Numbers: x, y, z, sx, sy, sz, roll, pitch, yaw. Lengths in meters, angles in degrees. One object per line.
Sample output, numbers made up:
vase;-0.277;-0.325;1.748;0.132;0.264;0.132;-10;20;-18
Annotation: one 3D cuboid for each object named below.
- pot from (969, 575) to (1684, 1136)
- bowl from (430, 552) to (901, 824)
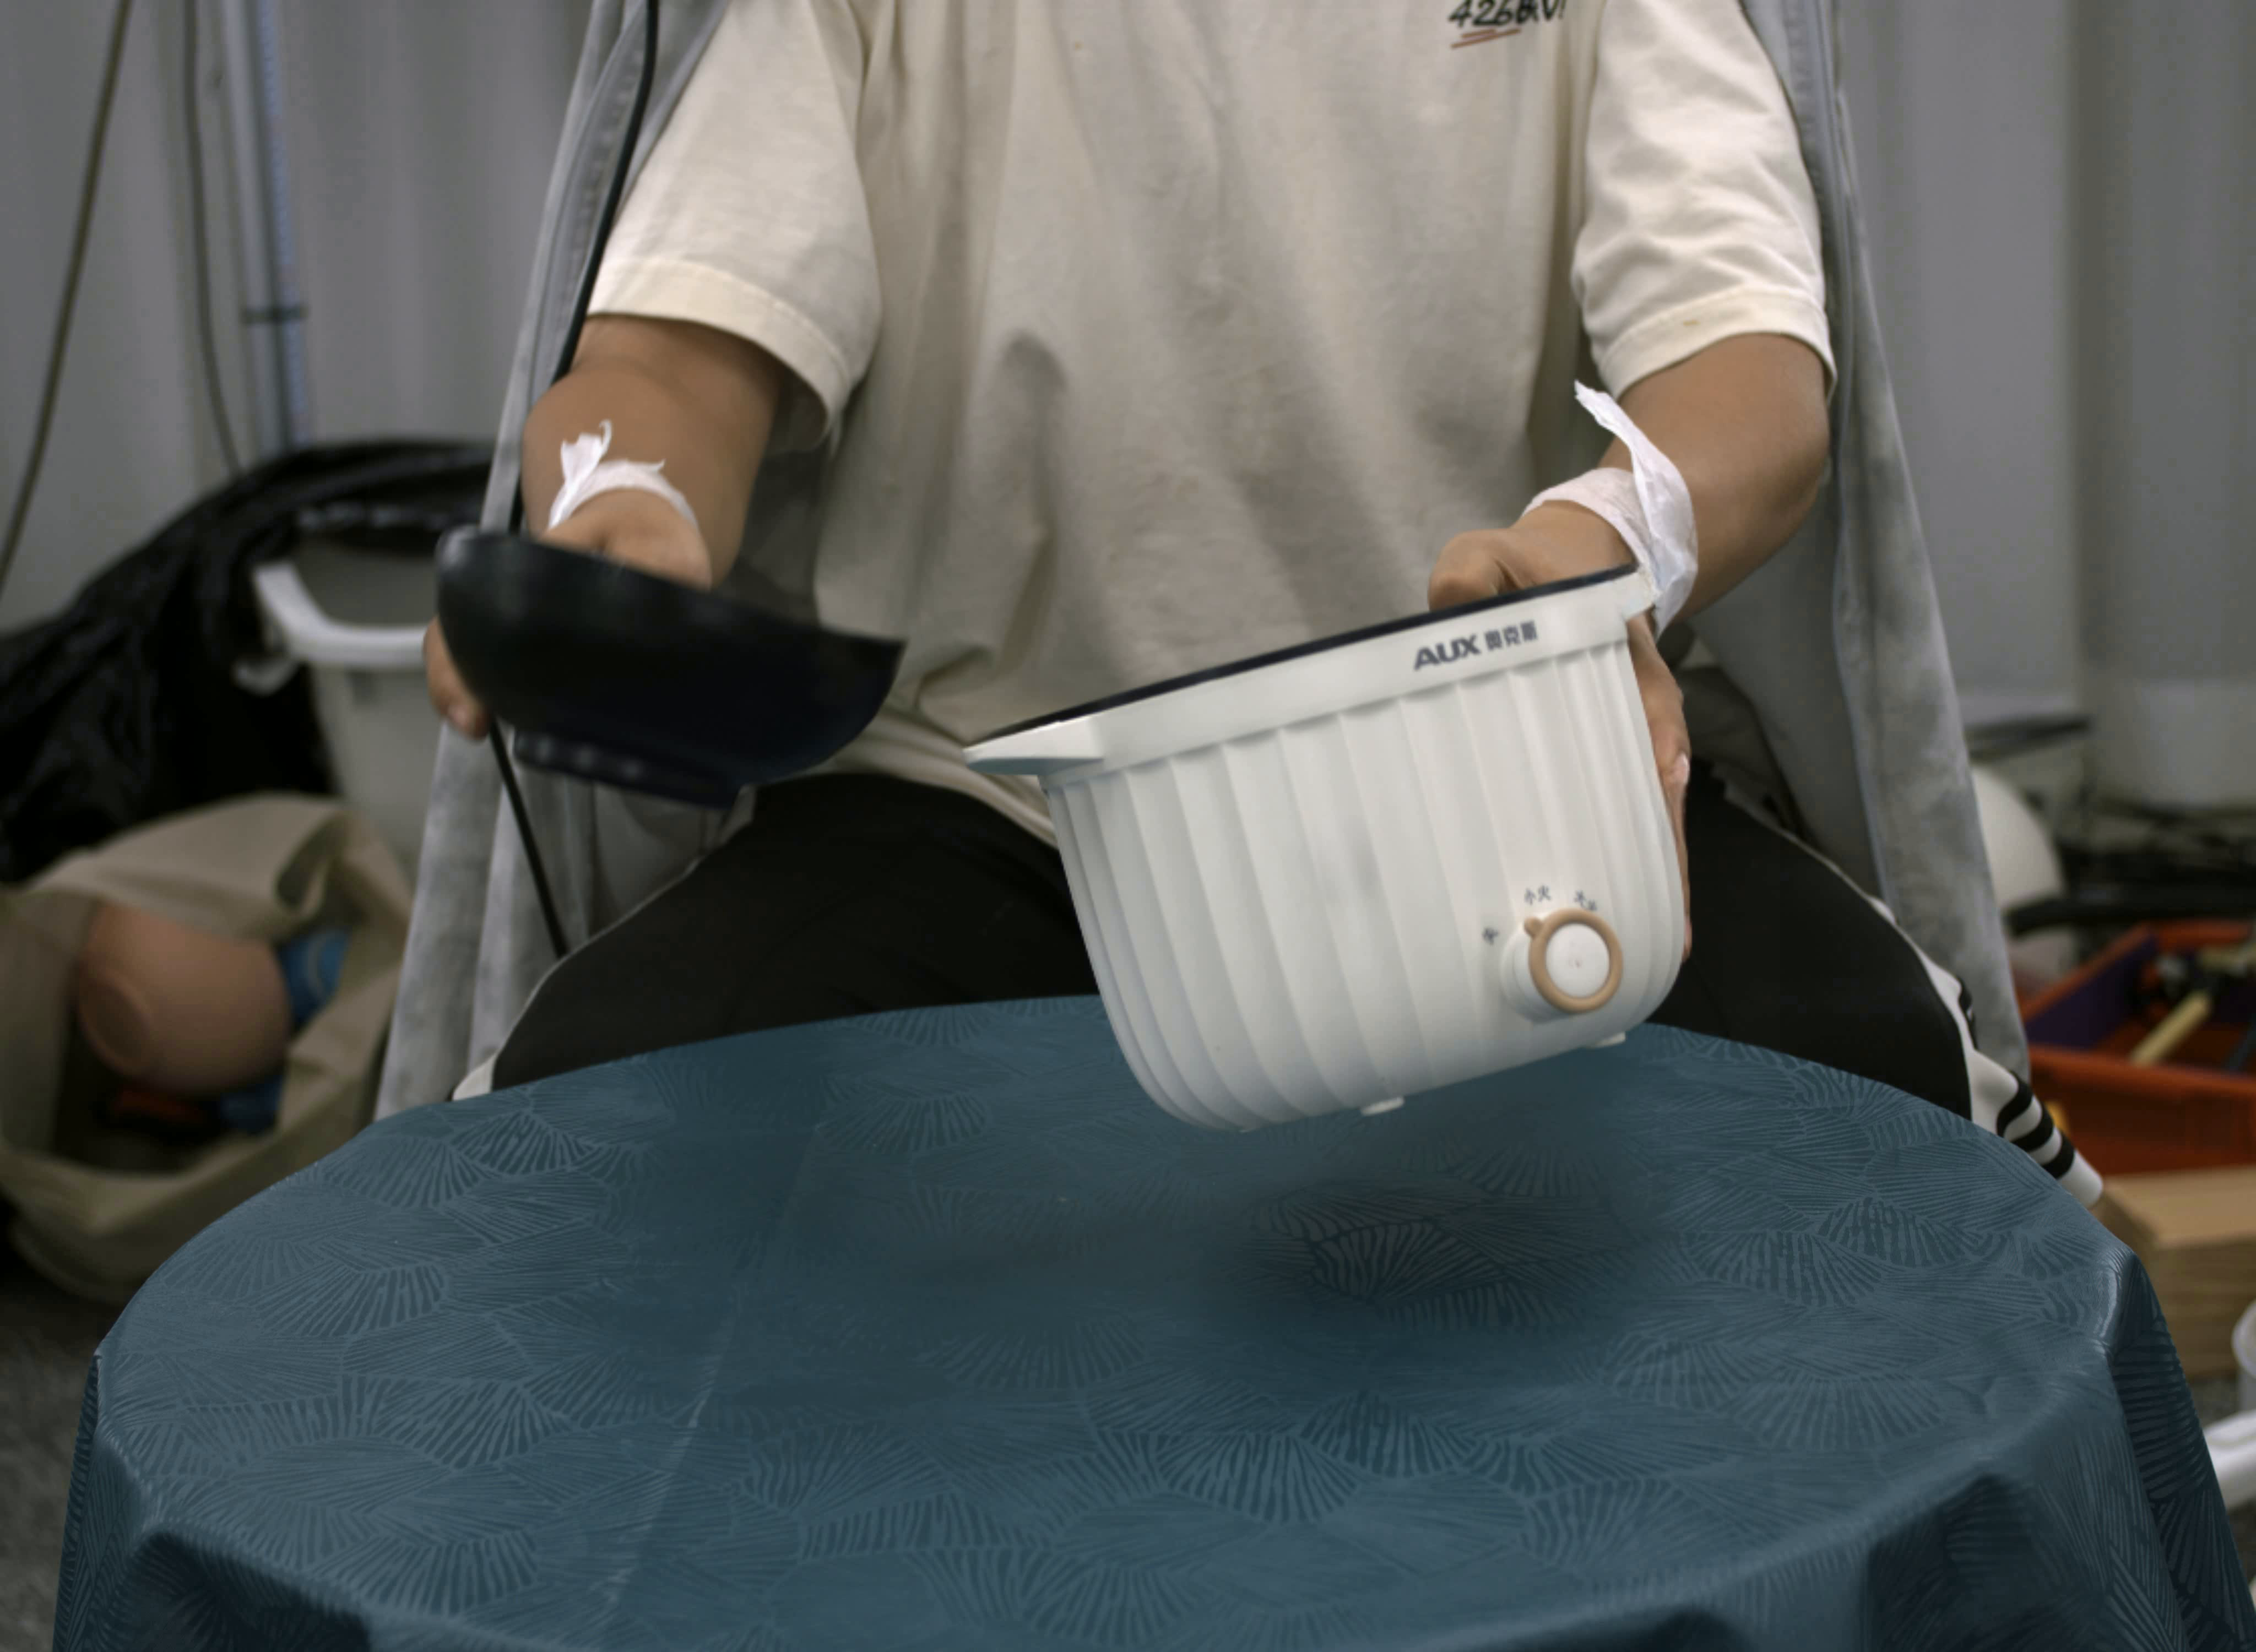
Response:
pot;0.077;0.012;1.628;0.239;0.143;0.190;-15;-3;-28
bowl;-0.147;-0.038;1.650;0.136;0.067;0.171;15;-4;-33
